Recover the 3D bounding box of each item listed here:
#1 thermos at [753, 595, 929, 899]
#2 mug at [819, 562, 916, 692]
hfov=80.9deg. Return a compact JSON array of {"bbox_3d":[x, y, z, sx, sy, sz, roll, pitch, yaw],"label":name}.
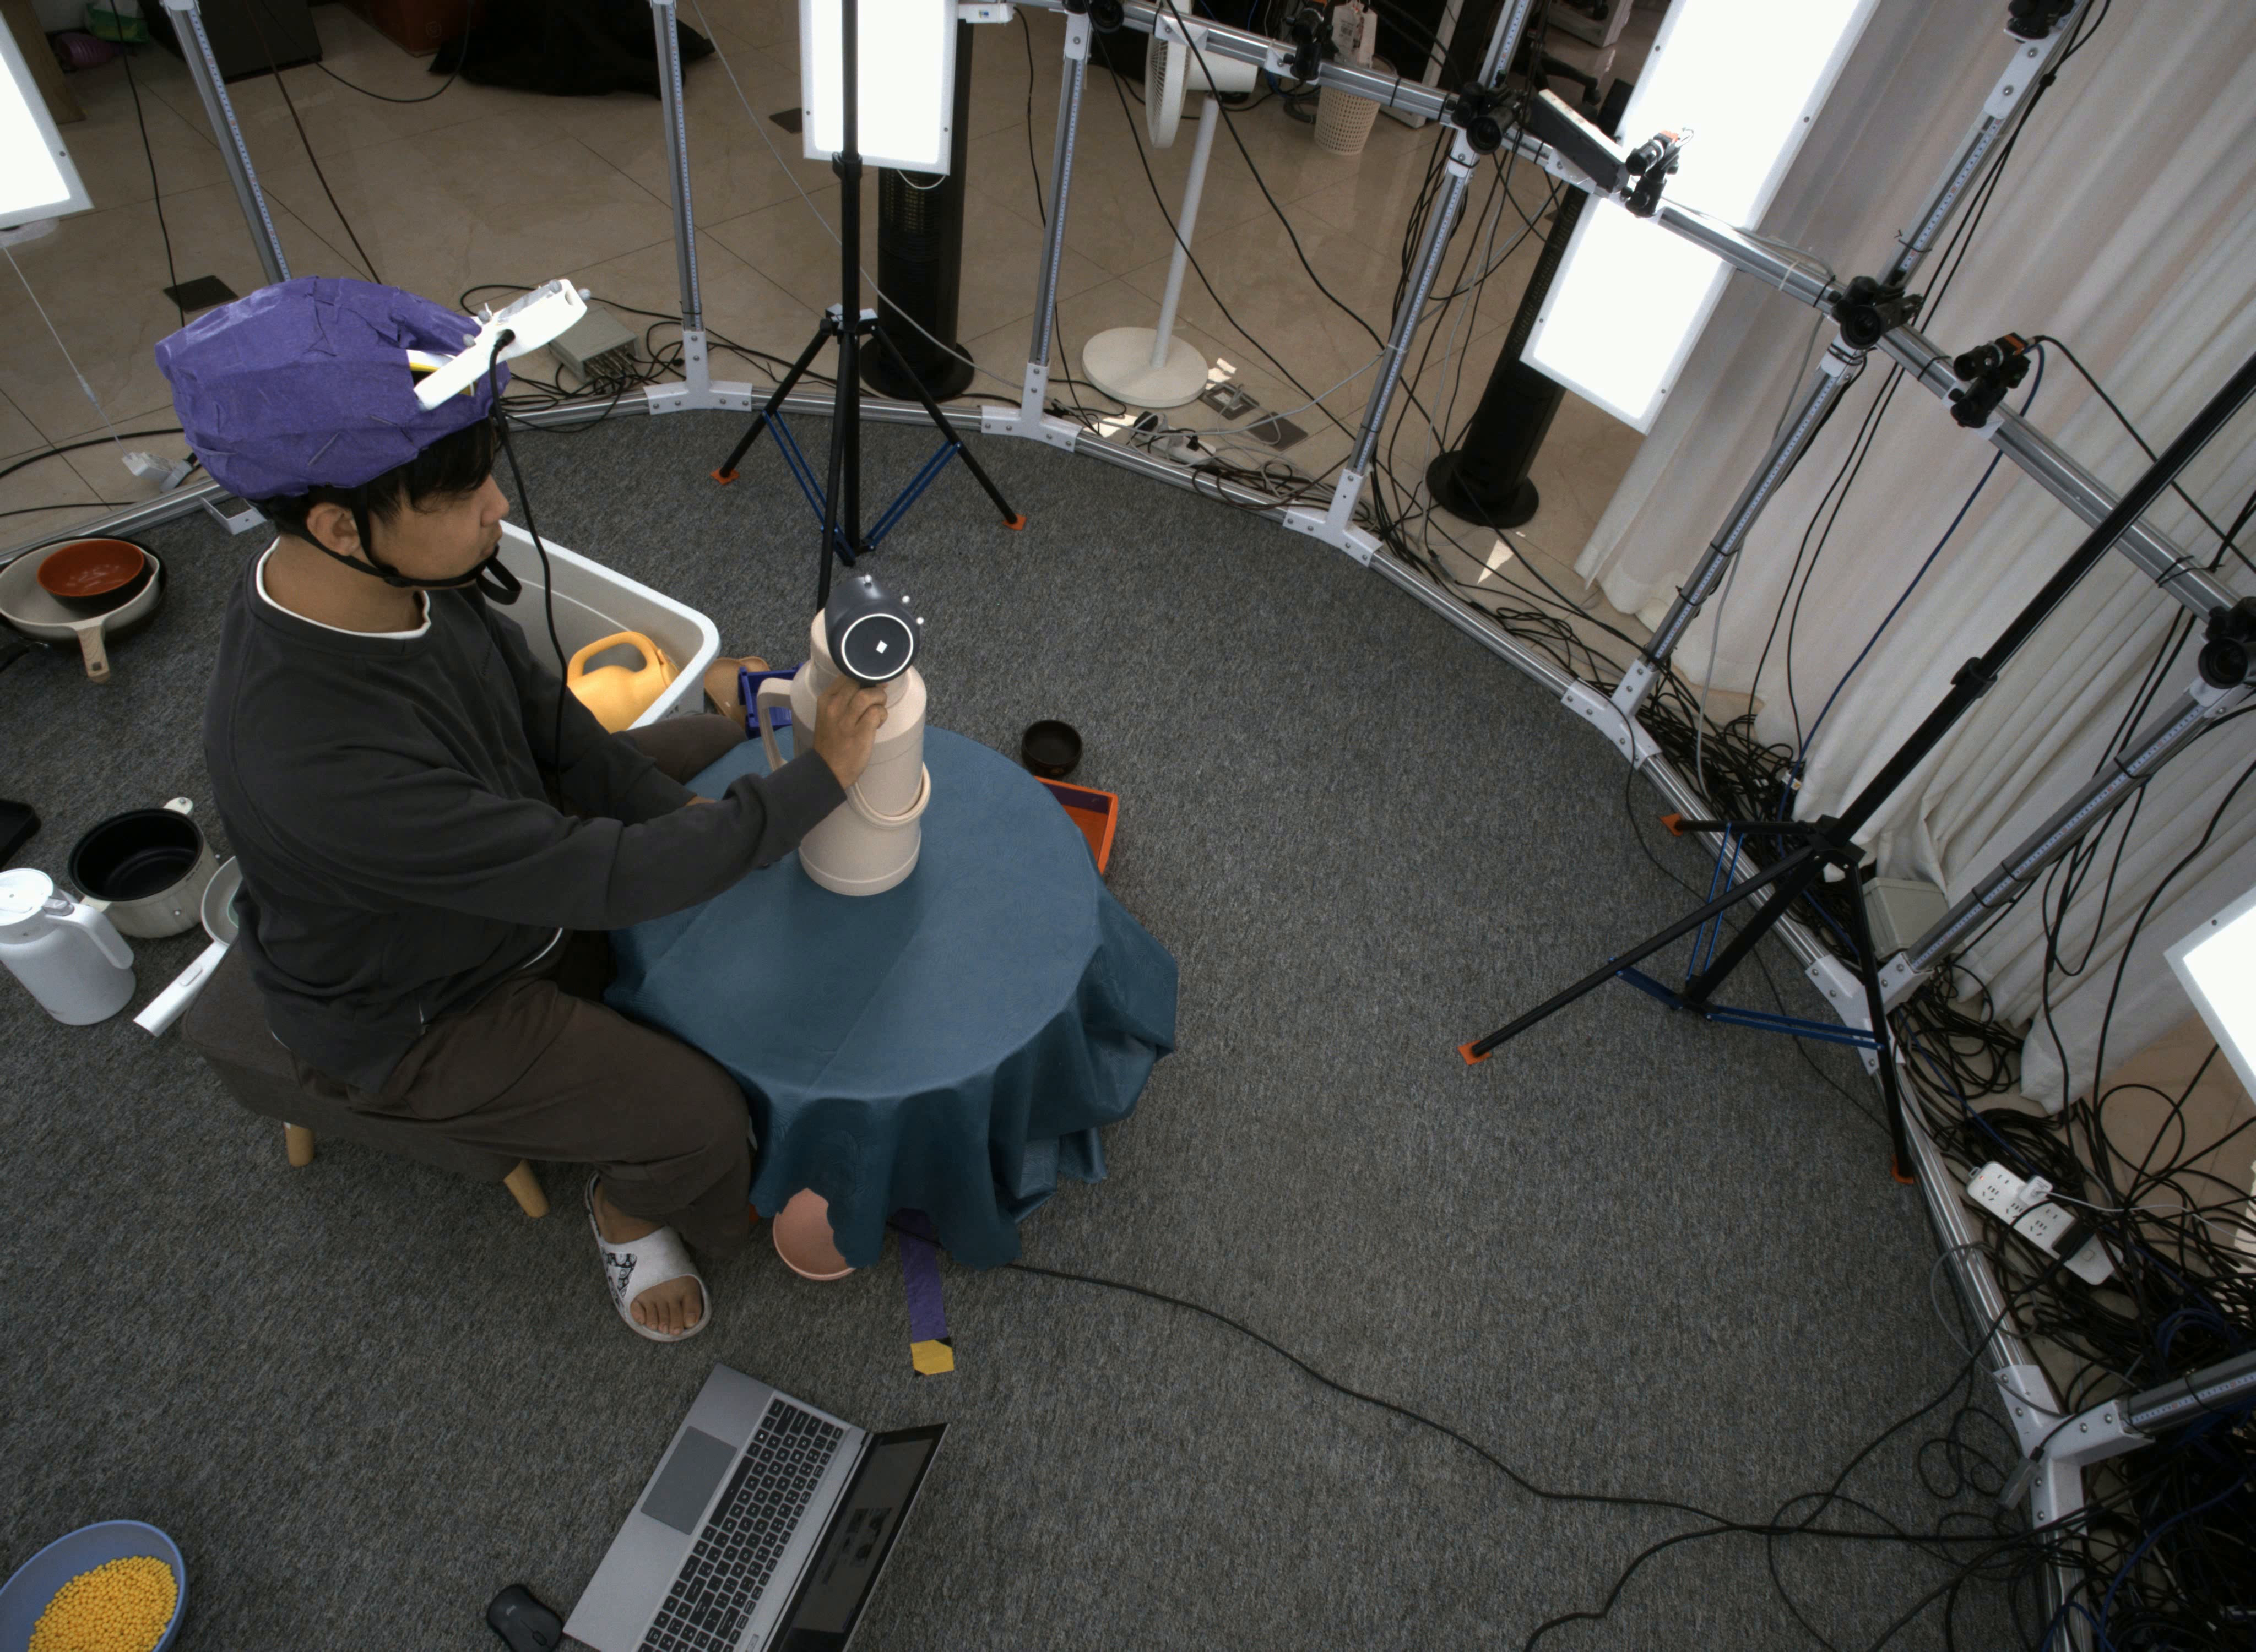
[{"bbox_3d":[-0.340,-0.098,1.558,0.206,0.415,0.172,7,51,-6],"label":"thermos"},{"bbox_3d":[-0.270,-0.199,1.325,0.094,0.126,0.087,-3,33,-24],"label":"mug"}]
